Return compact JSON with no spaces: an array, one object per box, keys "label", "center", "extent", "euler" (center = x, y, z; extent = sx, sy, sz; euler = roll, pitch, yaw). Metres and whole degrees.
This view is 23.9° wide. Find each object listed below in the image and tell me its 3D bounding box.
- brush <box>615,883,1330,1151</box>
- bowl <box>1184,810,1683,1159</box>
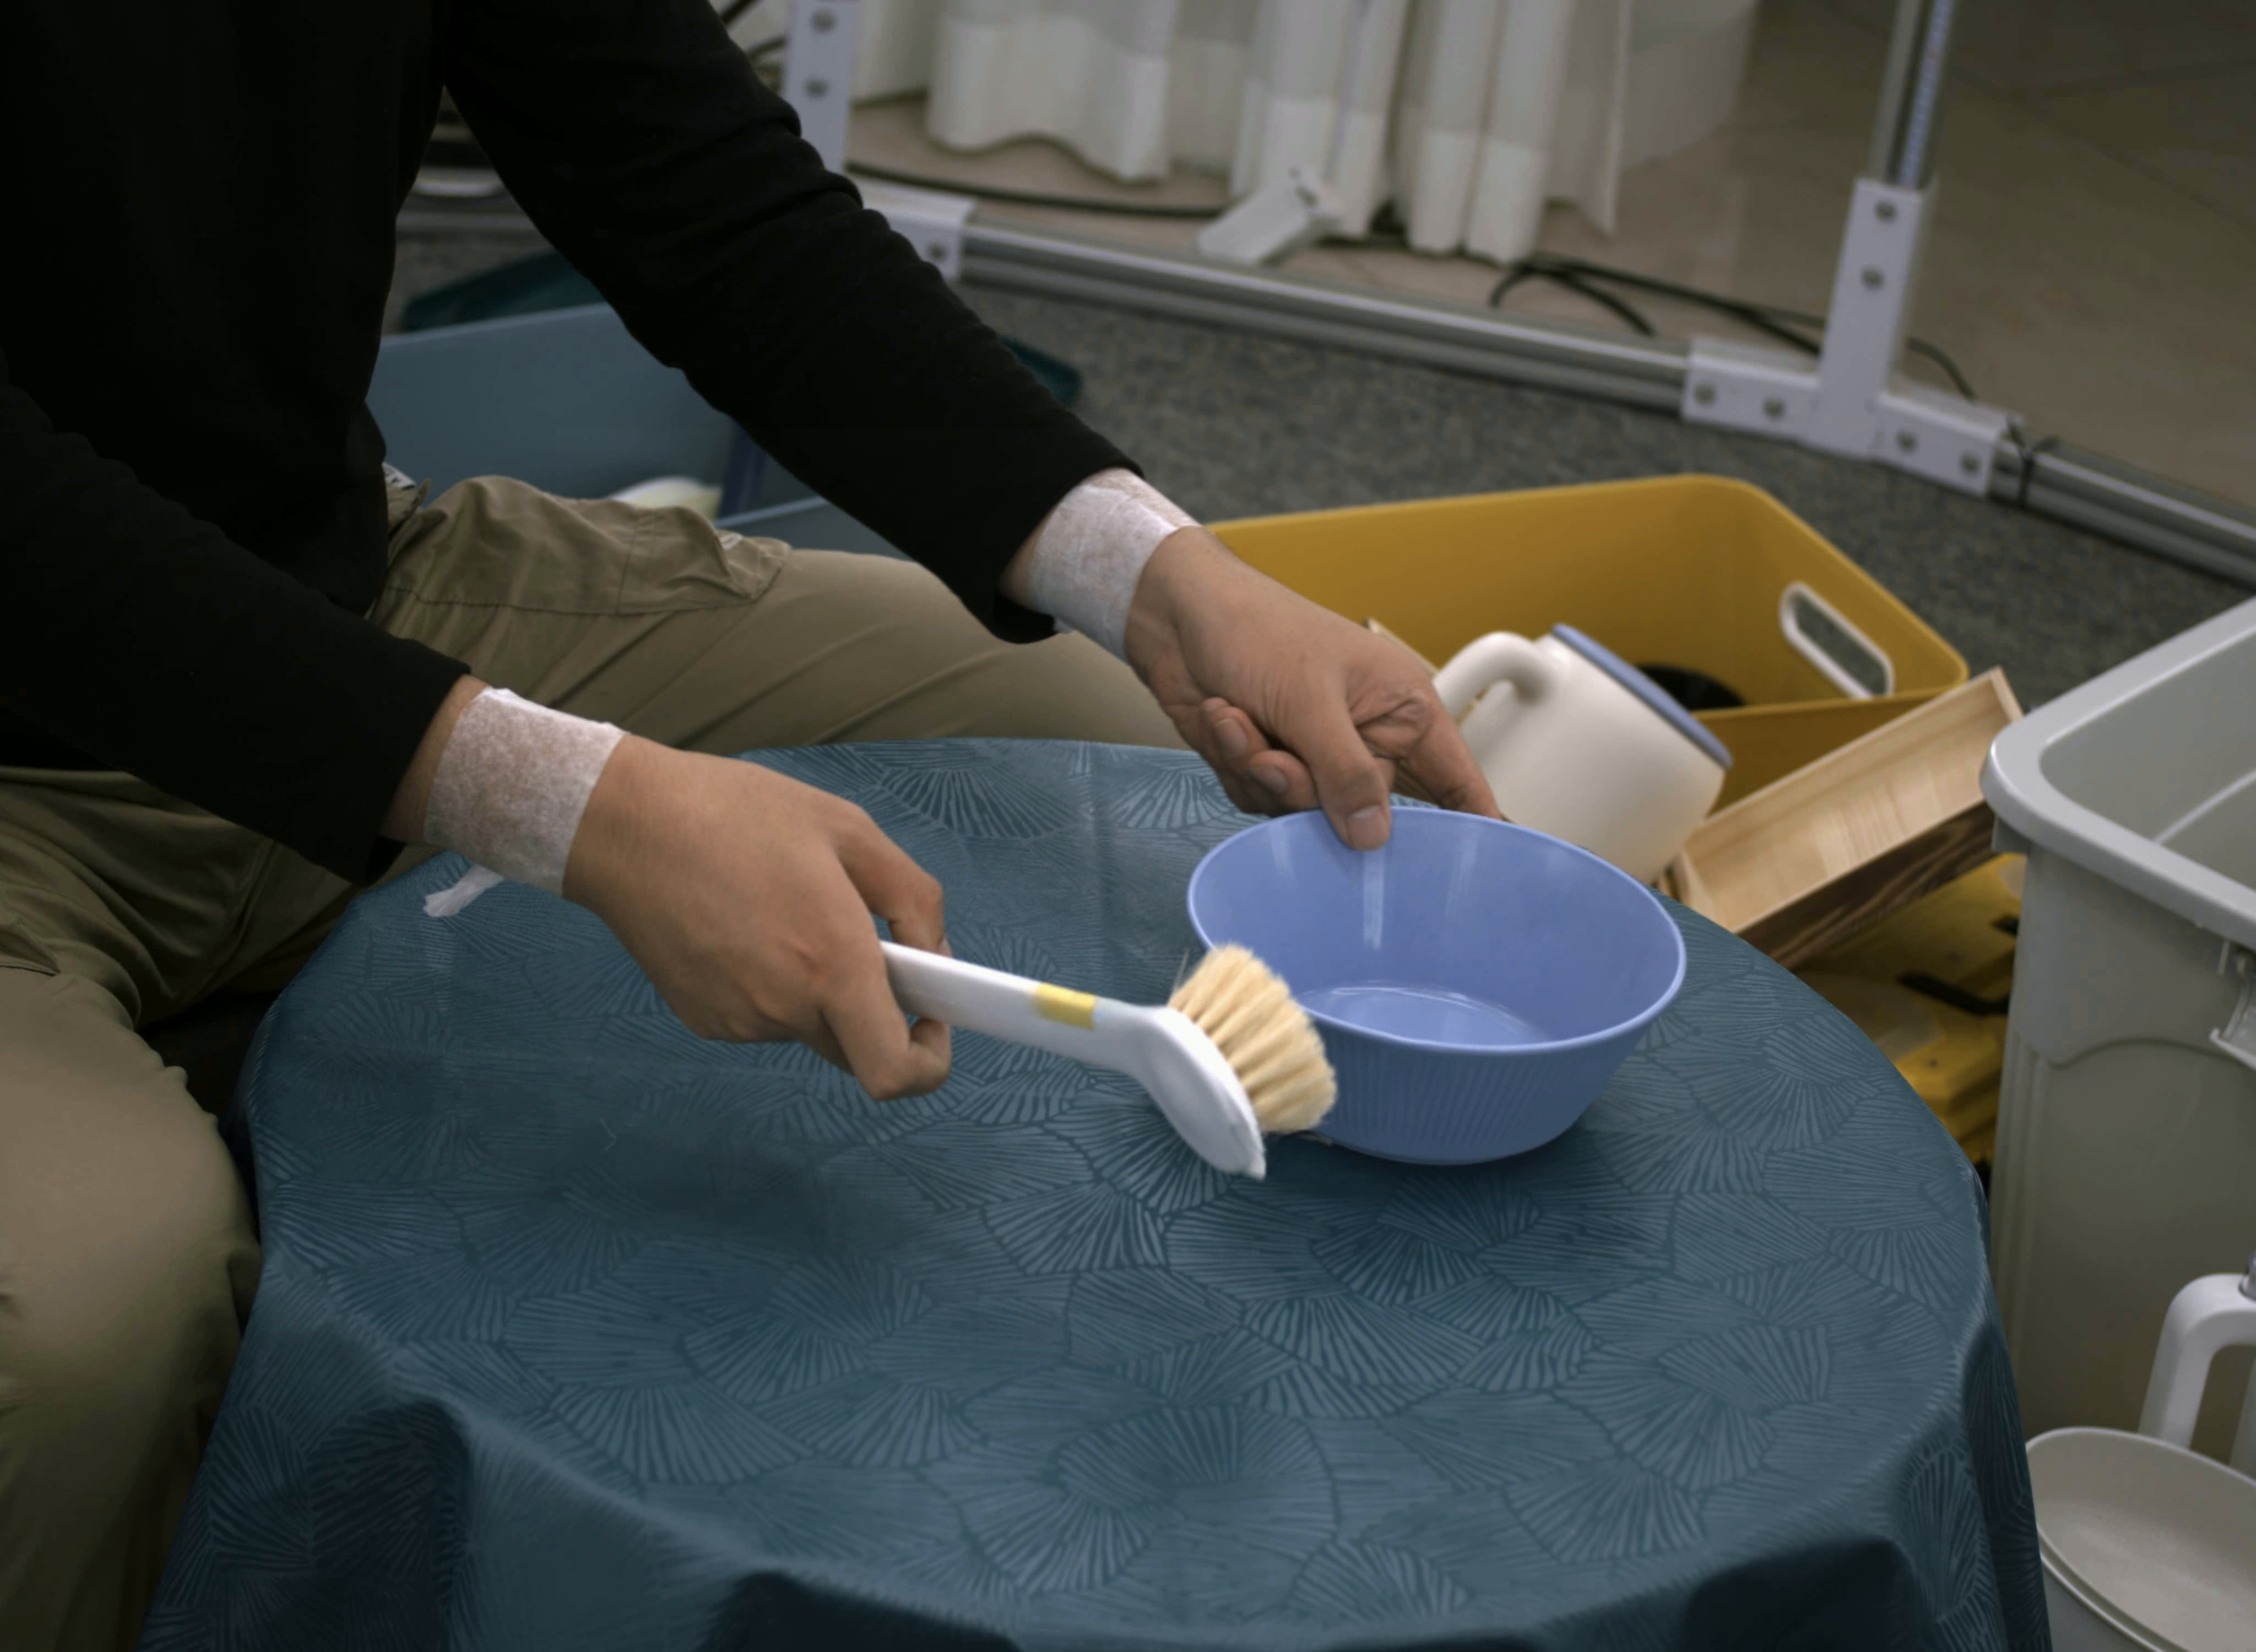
[{"label":"brush","center":[-0.050,0.045,1.739],"extent":[0.268,0.068,0.056],"euler":[16,45,32]},{"label":"bowl","center":[0.103,0.061,1.868],"extent":[0.175,0.070,0.177],"euler":[6,26,-3]}]
